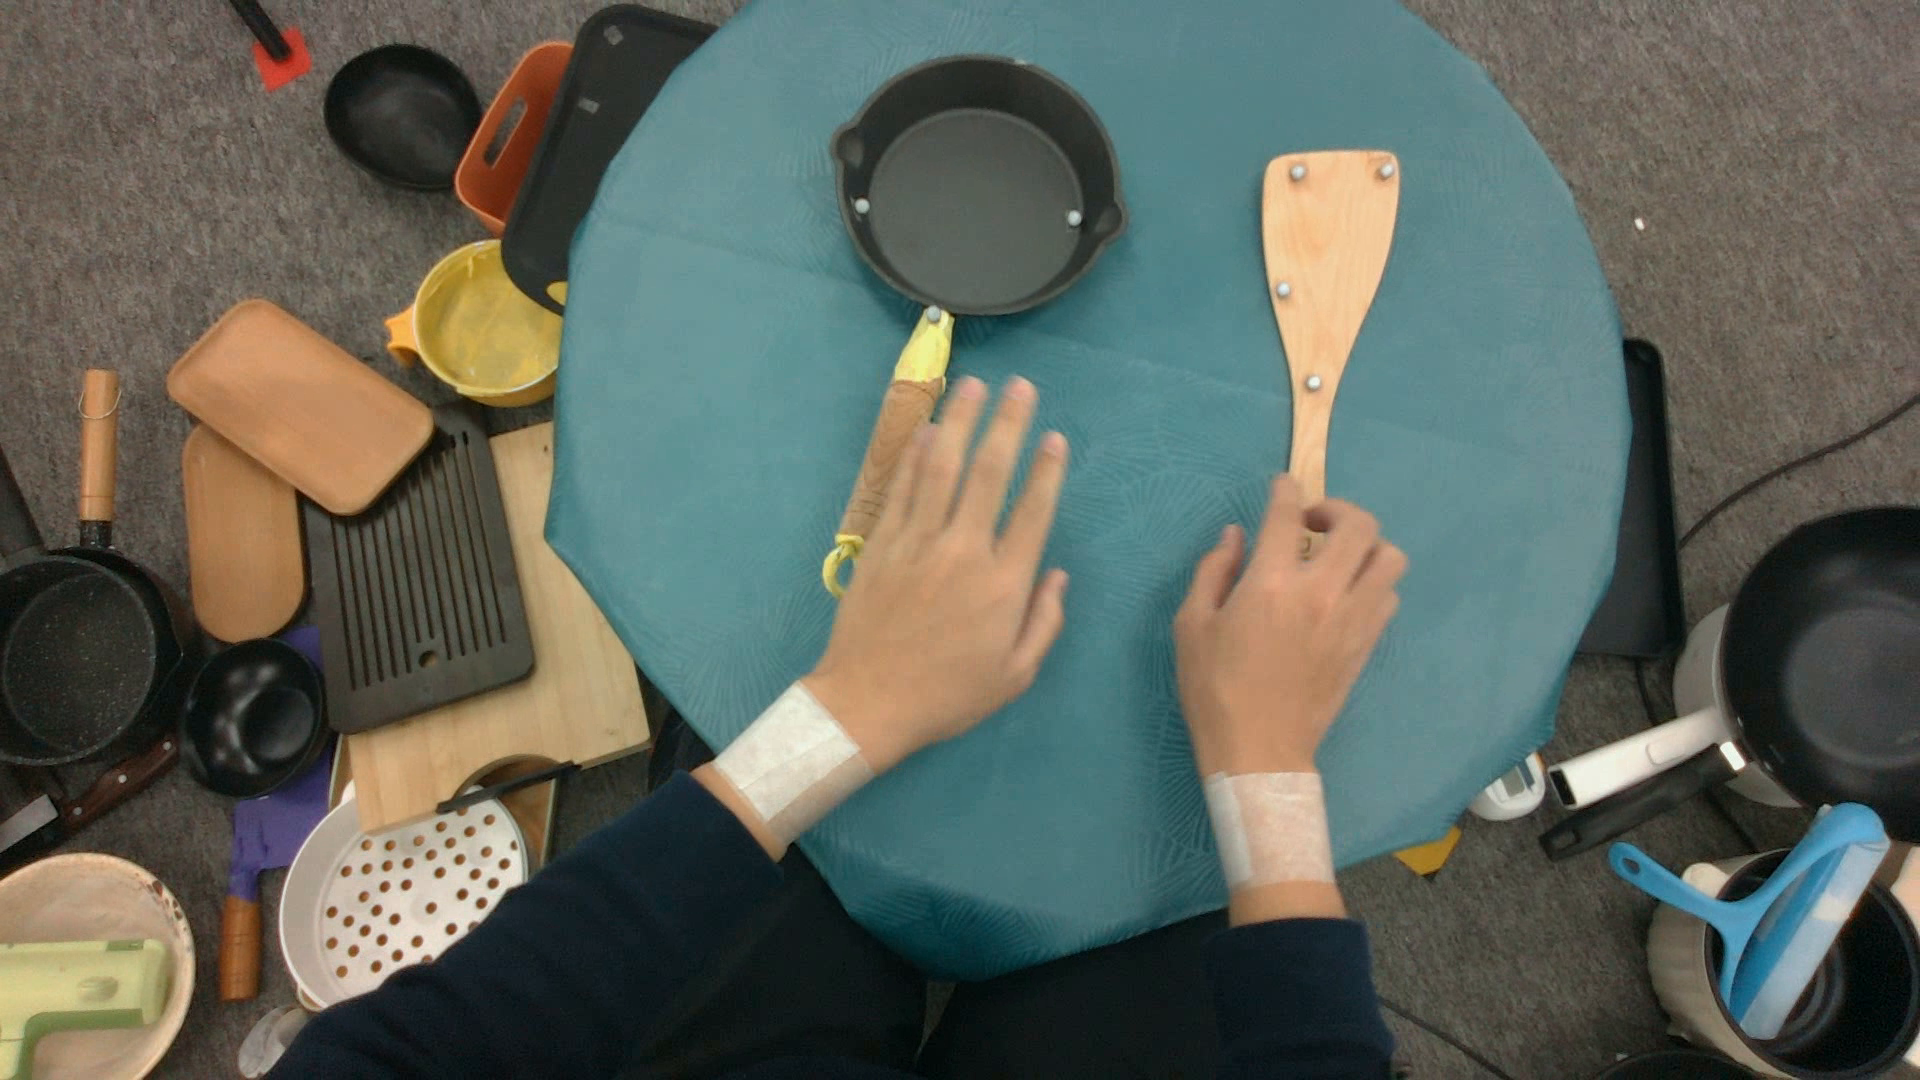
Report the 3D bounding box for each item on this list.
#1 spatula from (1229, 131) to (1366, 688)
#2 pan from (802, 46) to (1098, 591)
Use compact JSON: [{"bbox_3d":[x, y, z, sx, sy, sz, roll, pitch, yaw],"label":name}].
[{"bbox_3d":[0.181,-0.081,0.761,0.080,0.016,0.328,6,75,-1],"label":"spatula"},{"bbox_3d":[-0.029,-0.123,0.741,0.169,0.049,0.325,17,73,1],"label":"pan"}]
